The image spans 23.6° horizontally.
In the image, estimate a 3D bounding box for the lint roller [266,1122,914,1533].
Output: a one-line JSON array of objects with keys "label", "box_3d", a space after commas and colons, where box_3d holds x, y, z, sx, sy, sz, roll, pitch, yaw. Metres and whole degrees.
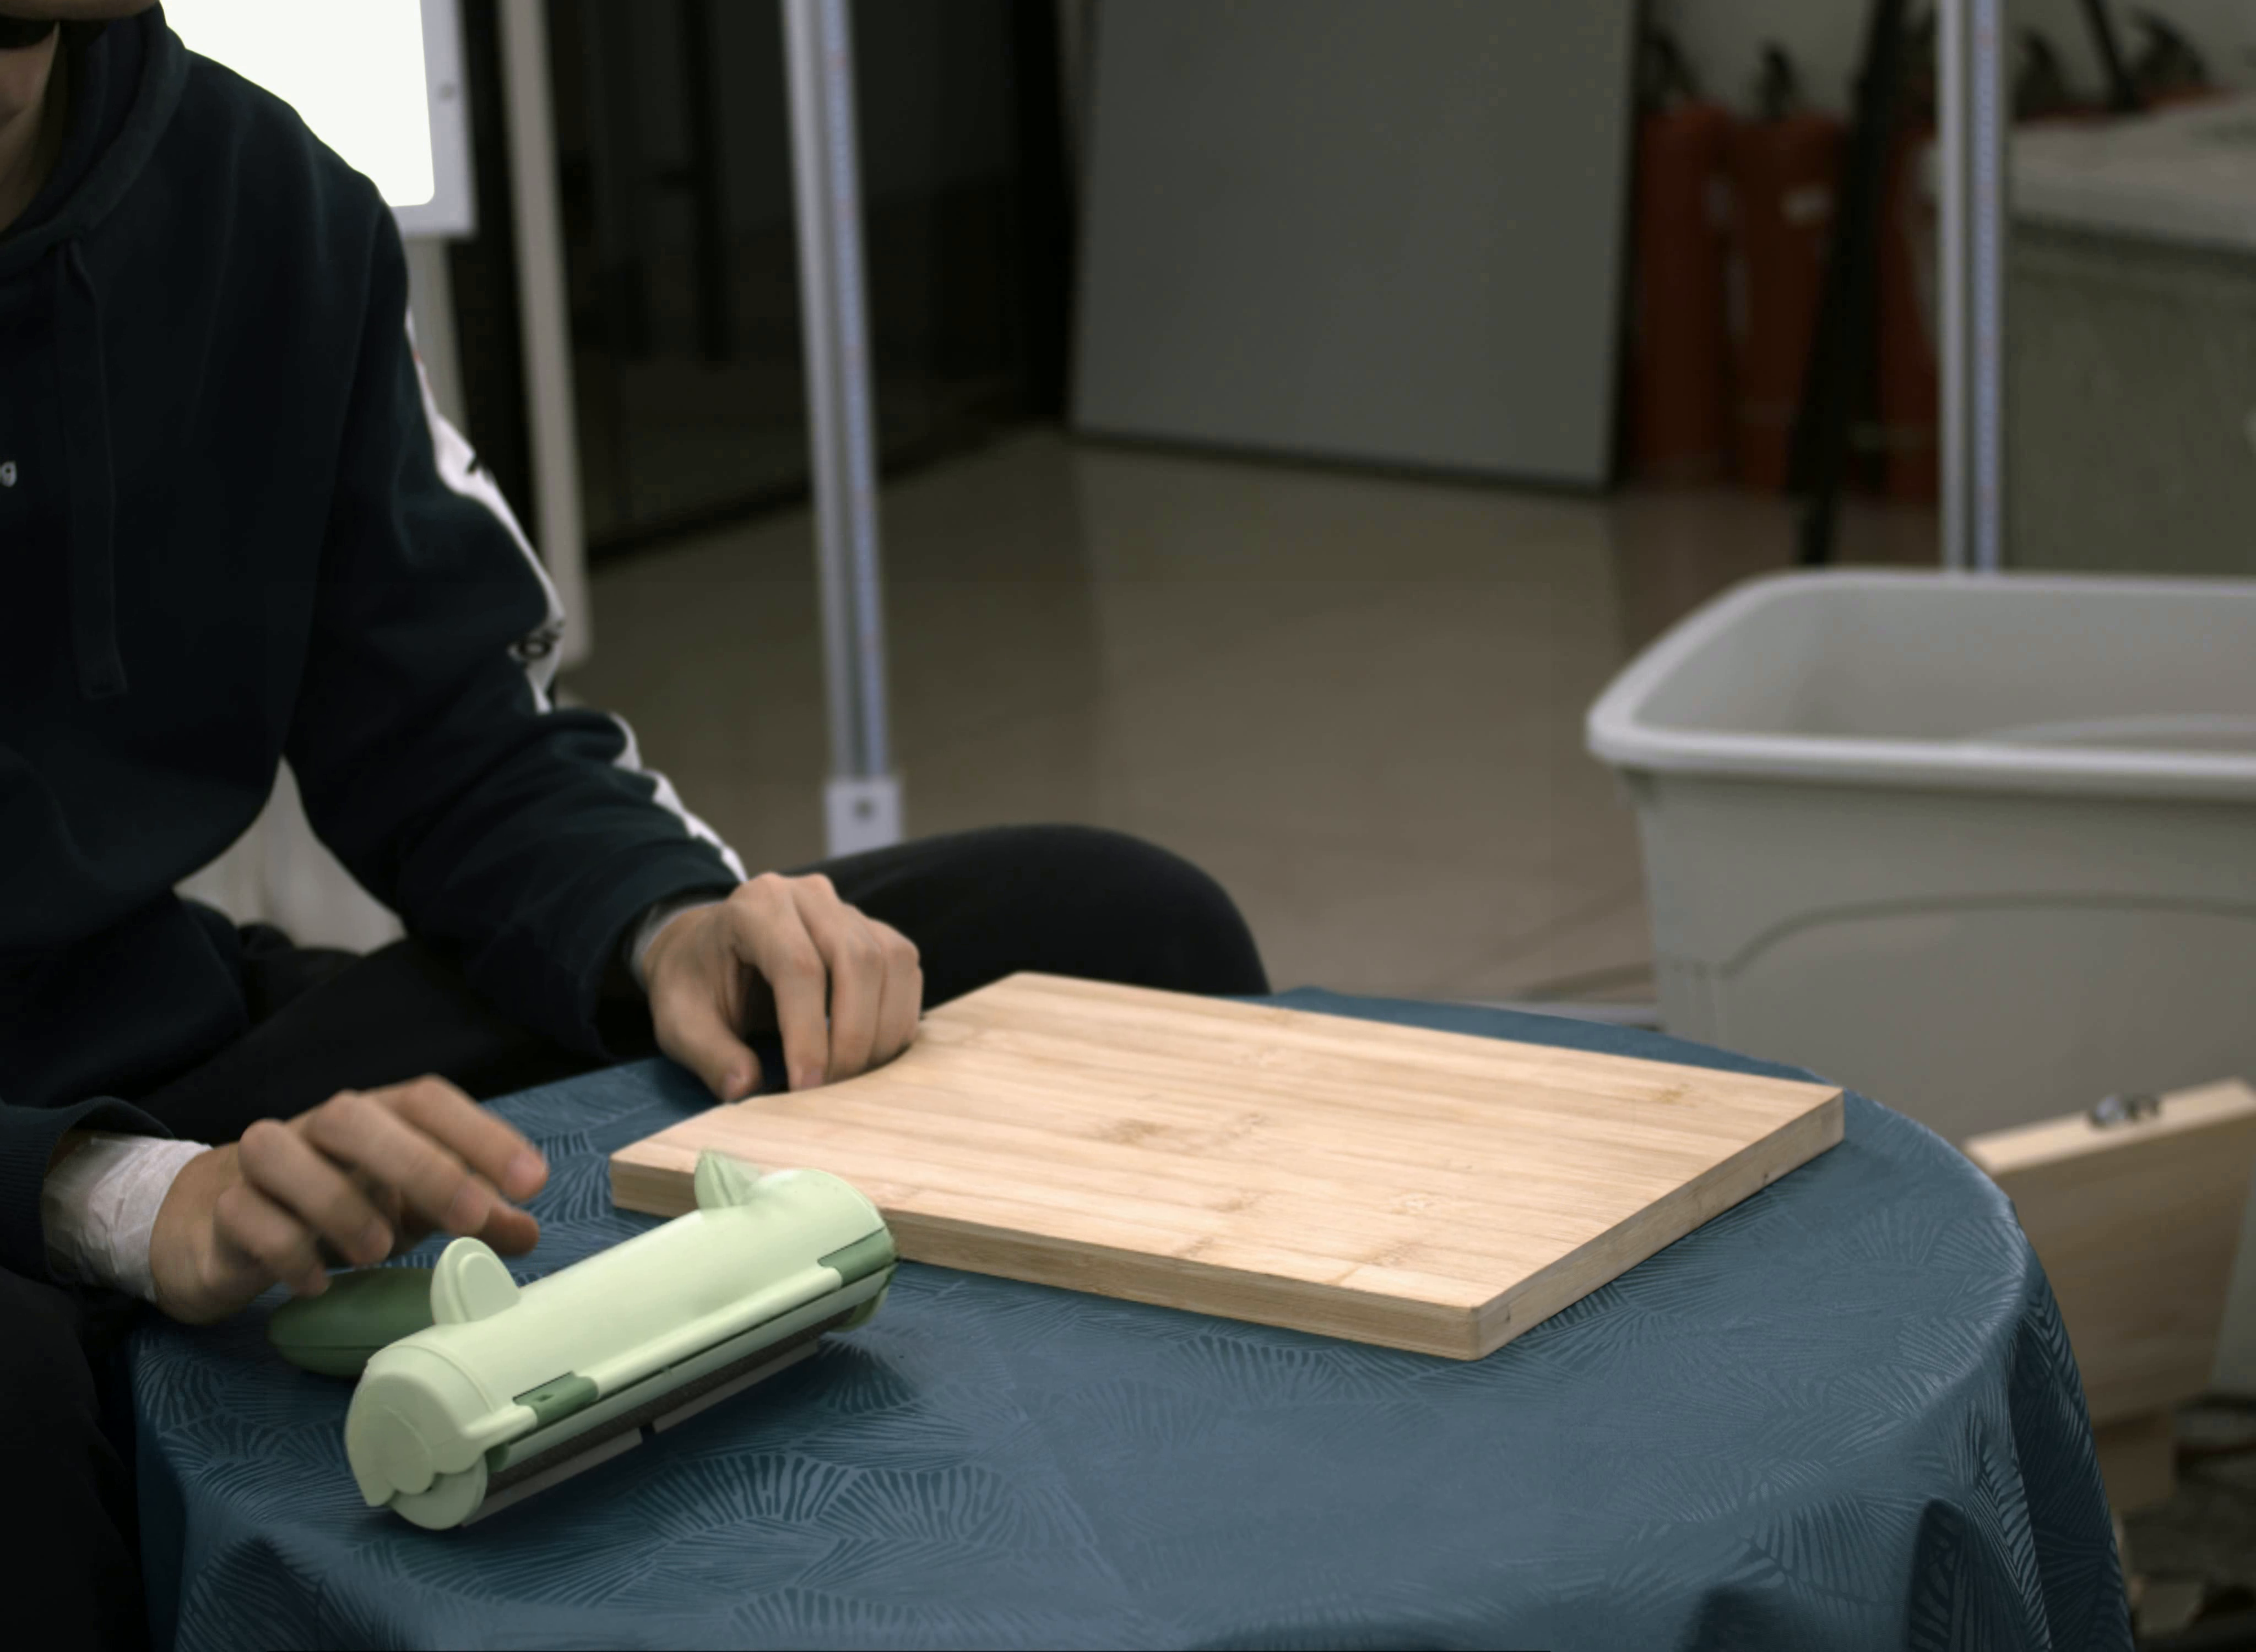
[{"label": "lint roller", "box_3d": [-0.189, 0.135, 1.603, 0.184, 0.083, 0.195, 10, 20, 36]}]

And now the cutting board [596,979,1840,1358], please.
[{"label": "cutting board", "box_3d": [0.029, 0.108, 1.784, 0.351, 0.024, 0.246, 6, 17, 35]}]
